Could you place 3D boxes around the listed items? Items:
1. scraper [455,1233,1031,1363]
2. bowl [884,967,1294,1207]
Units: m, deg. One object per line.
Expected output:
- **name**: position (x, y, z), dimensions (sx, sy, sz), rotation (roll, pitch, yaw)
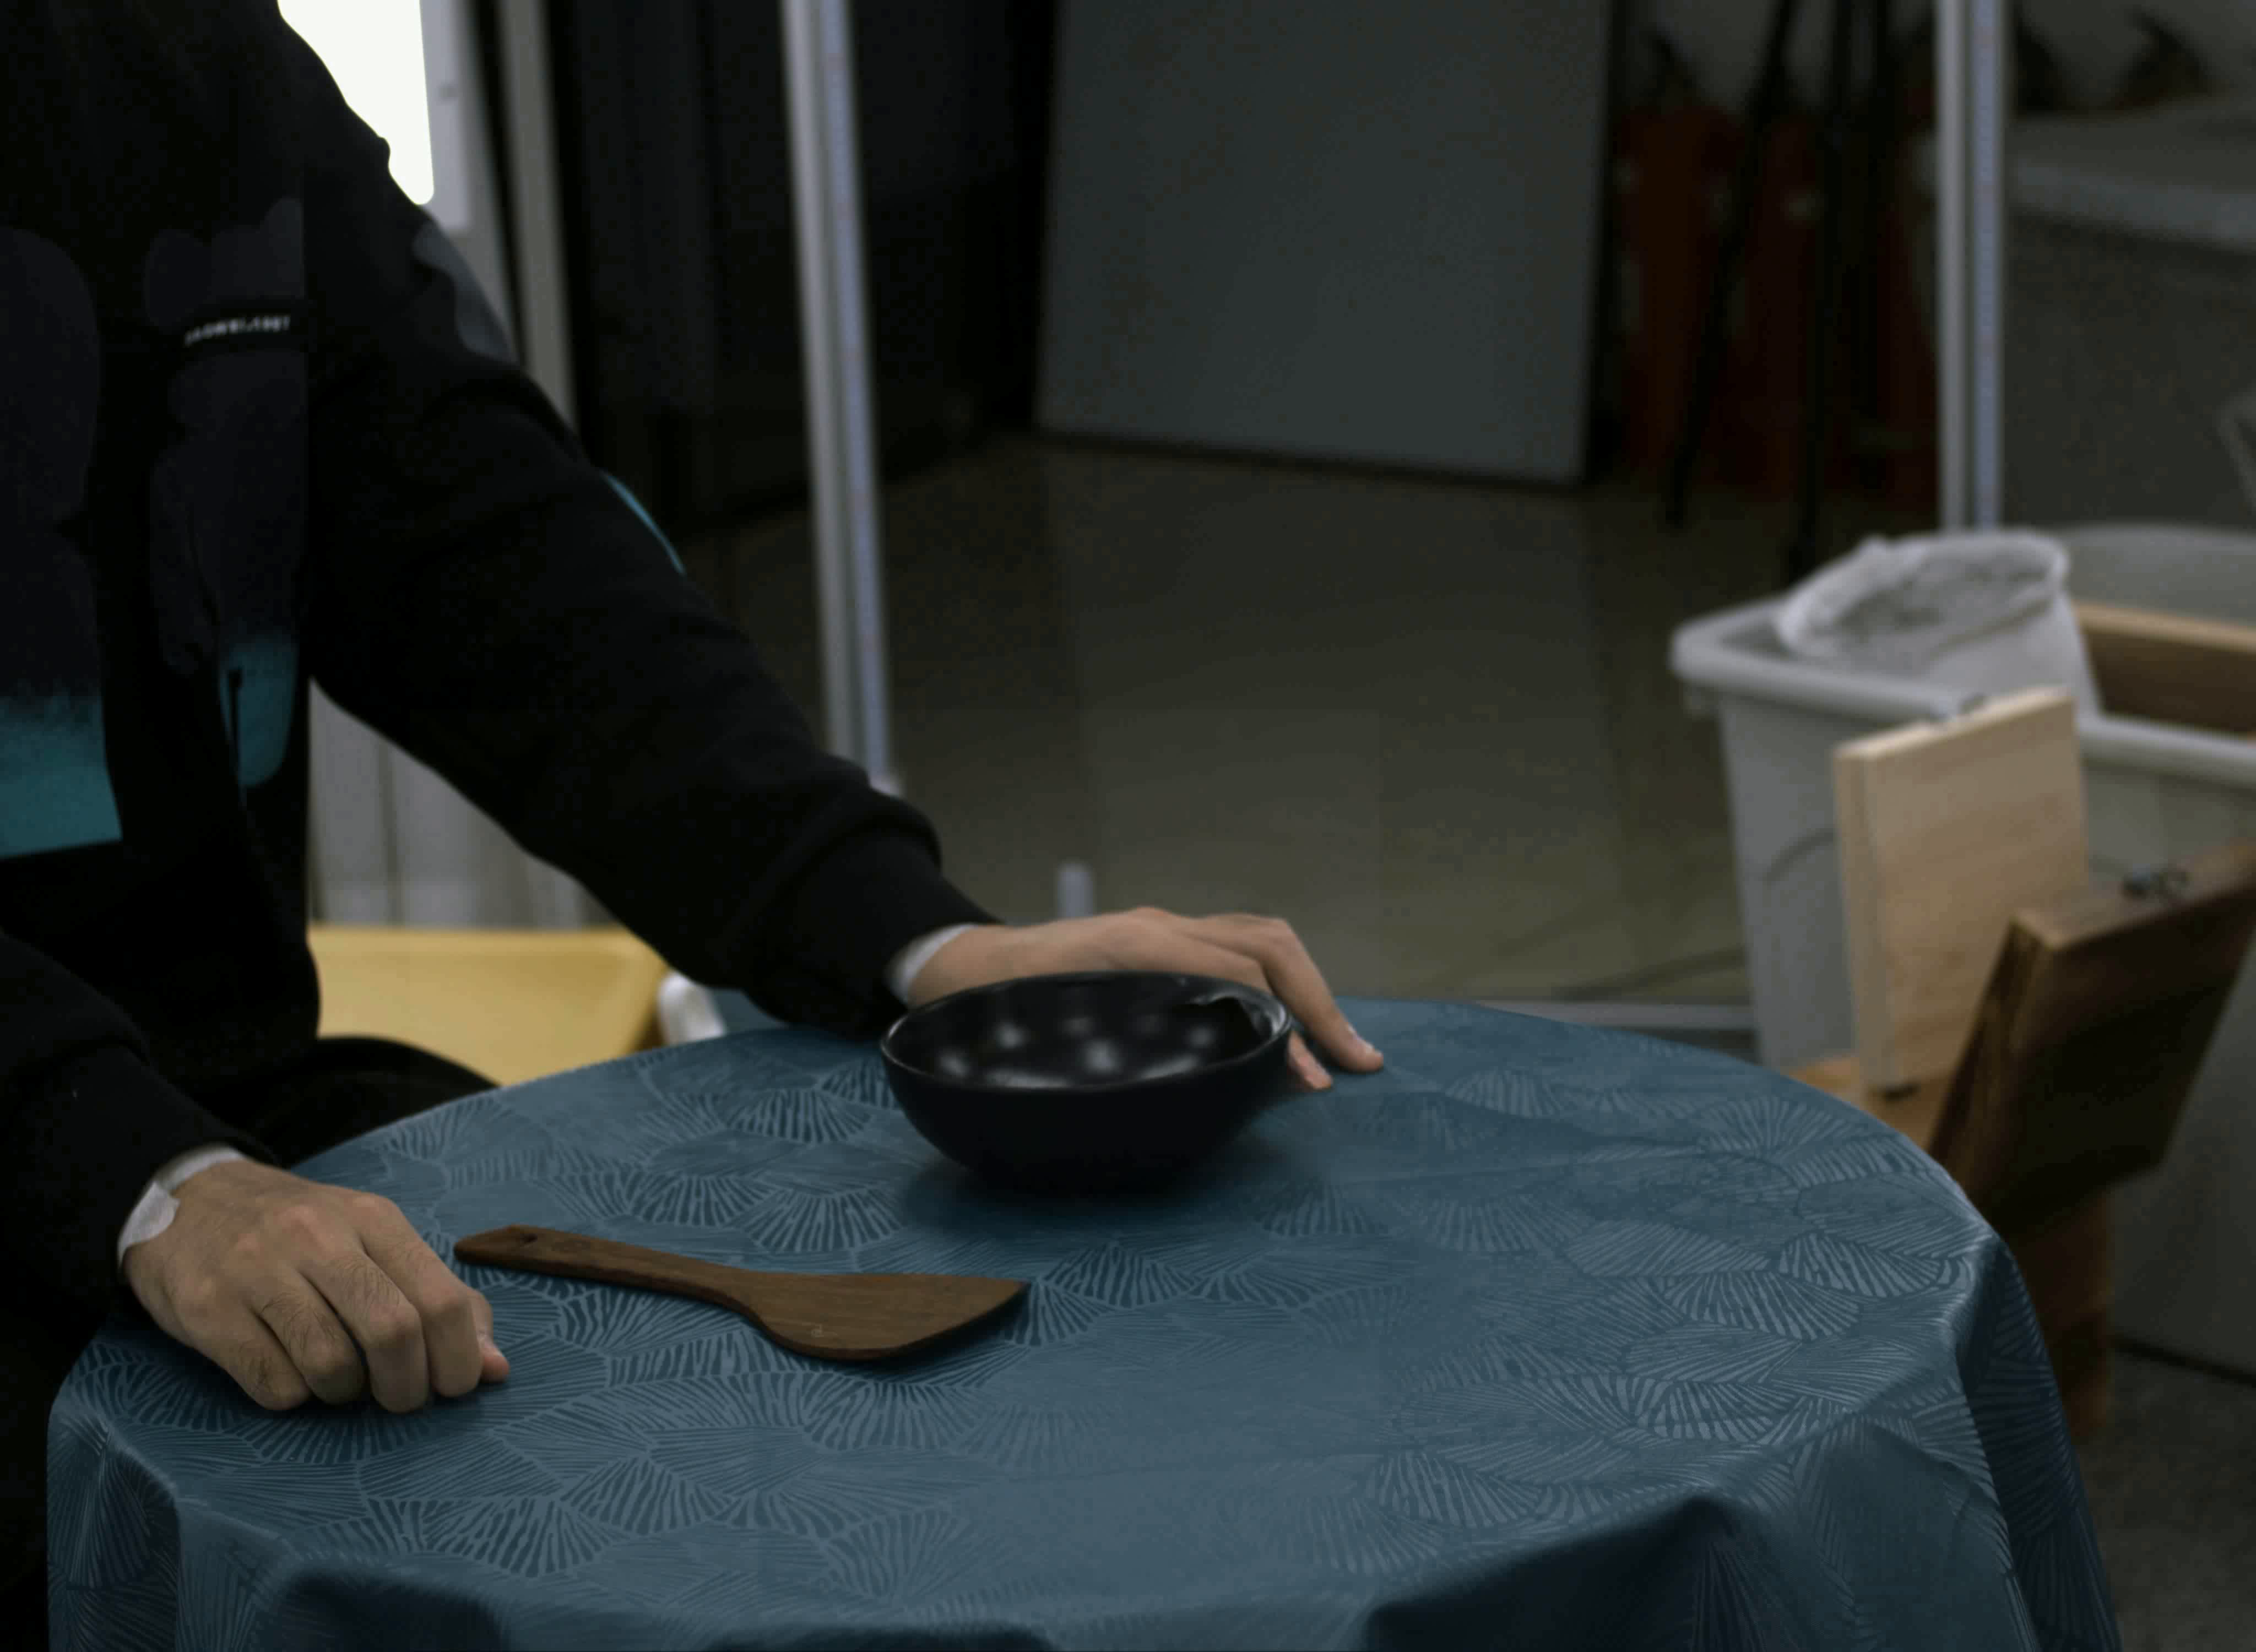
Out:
- **scraper**: position (-0.128, 0.145, 1.696), dimensions (0.213, 0.011, 0.074), rotation (6, 15, 37)
- **bowl**: position (-0.011, 0.091, 1.796), dimensions (0.138, 0.050, 0.140), rotation (-7, 15, 1)
